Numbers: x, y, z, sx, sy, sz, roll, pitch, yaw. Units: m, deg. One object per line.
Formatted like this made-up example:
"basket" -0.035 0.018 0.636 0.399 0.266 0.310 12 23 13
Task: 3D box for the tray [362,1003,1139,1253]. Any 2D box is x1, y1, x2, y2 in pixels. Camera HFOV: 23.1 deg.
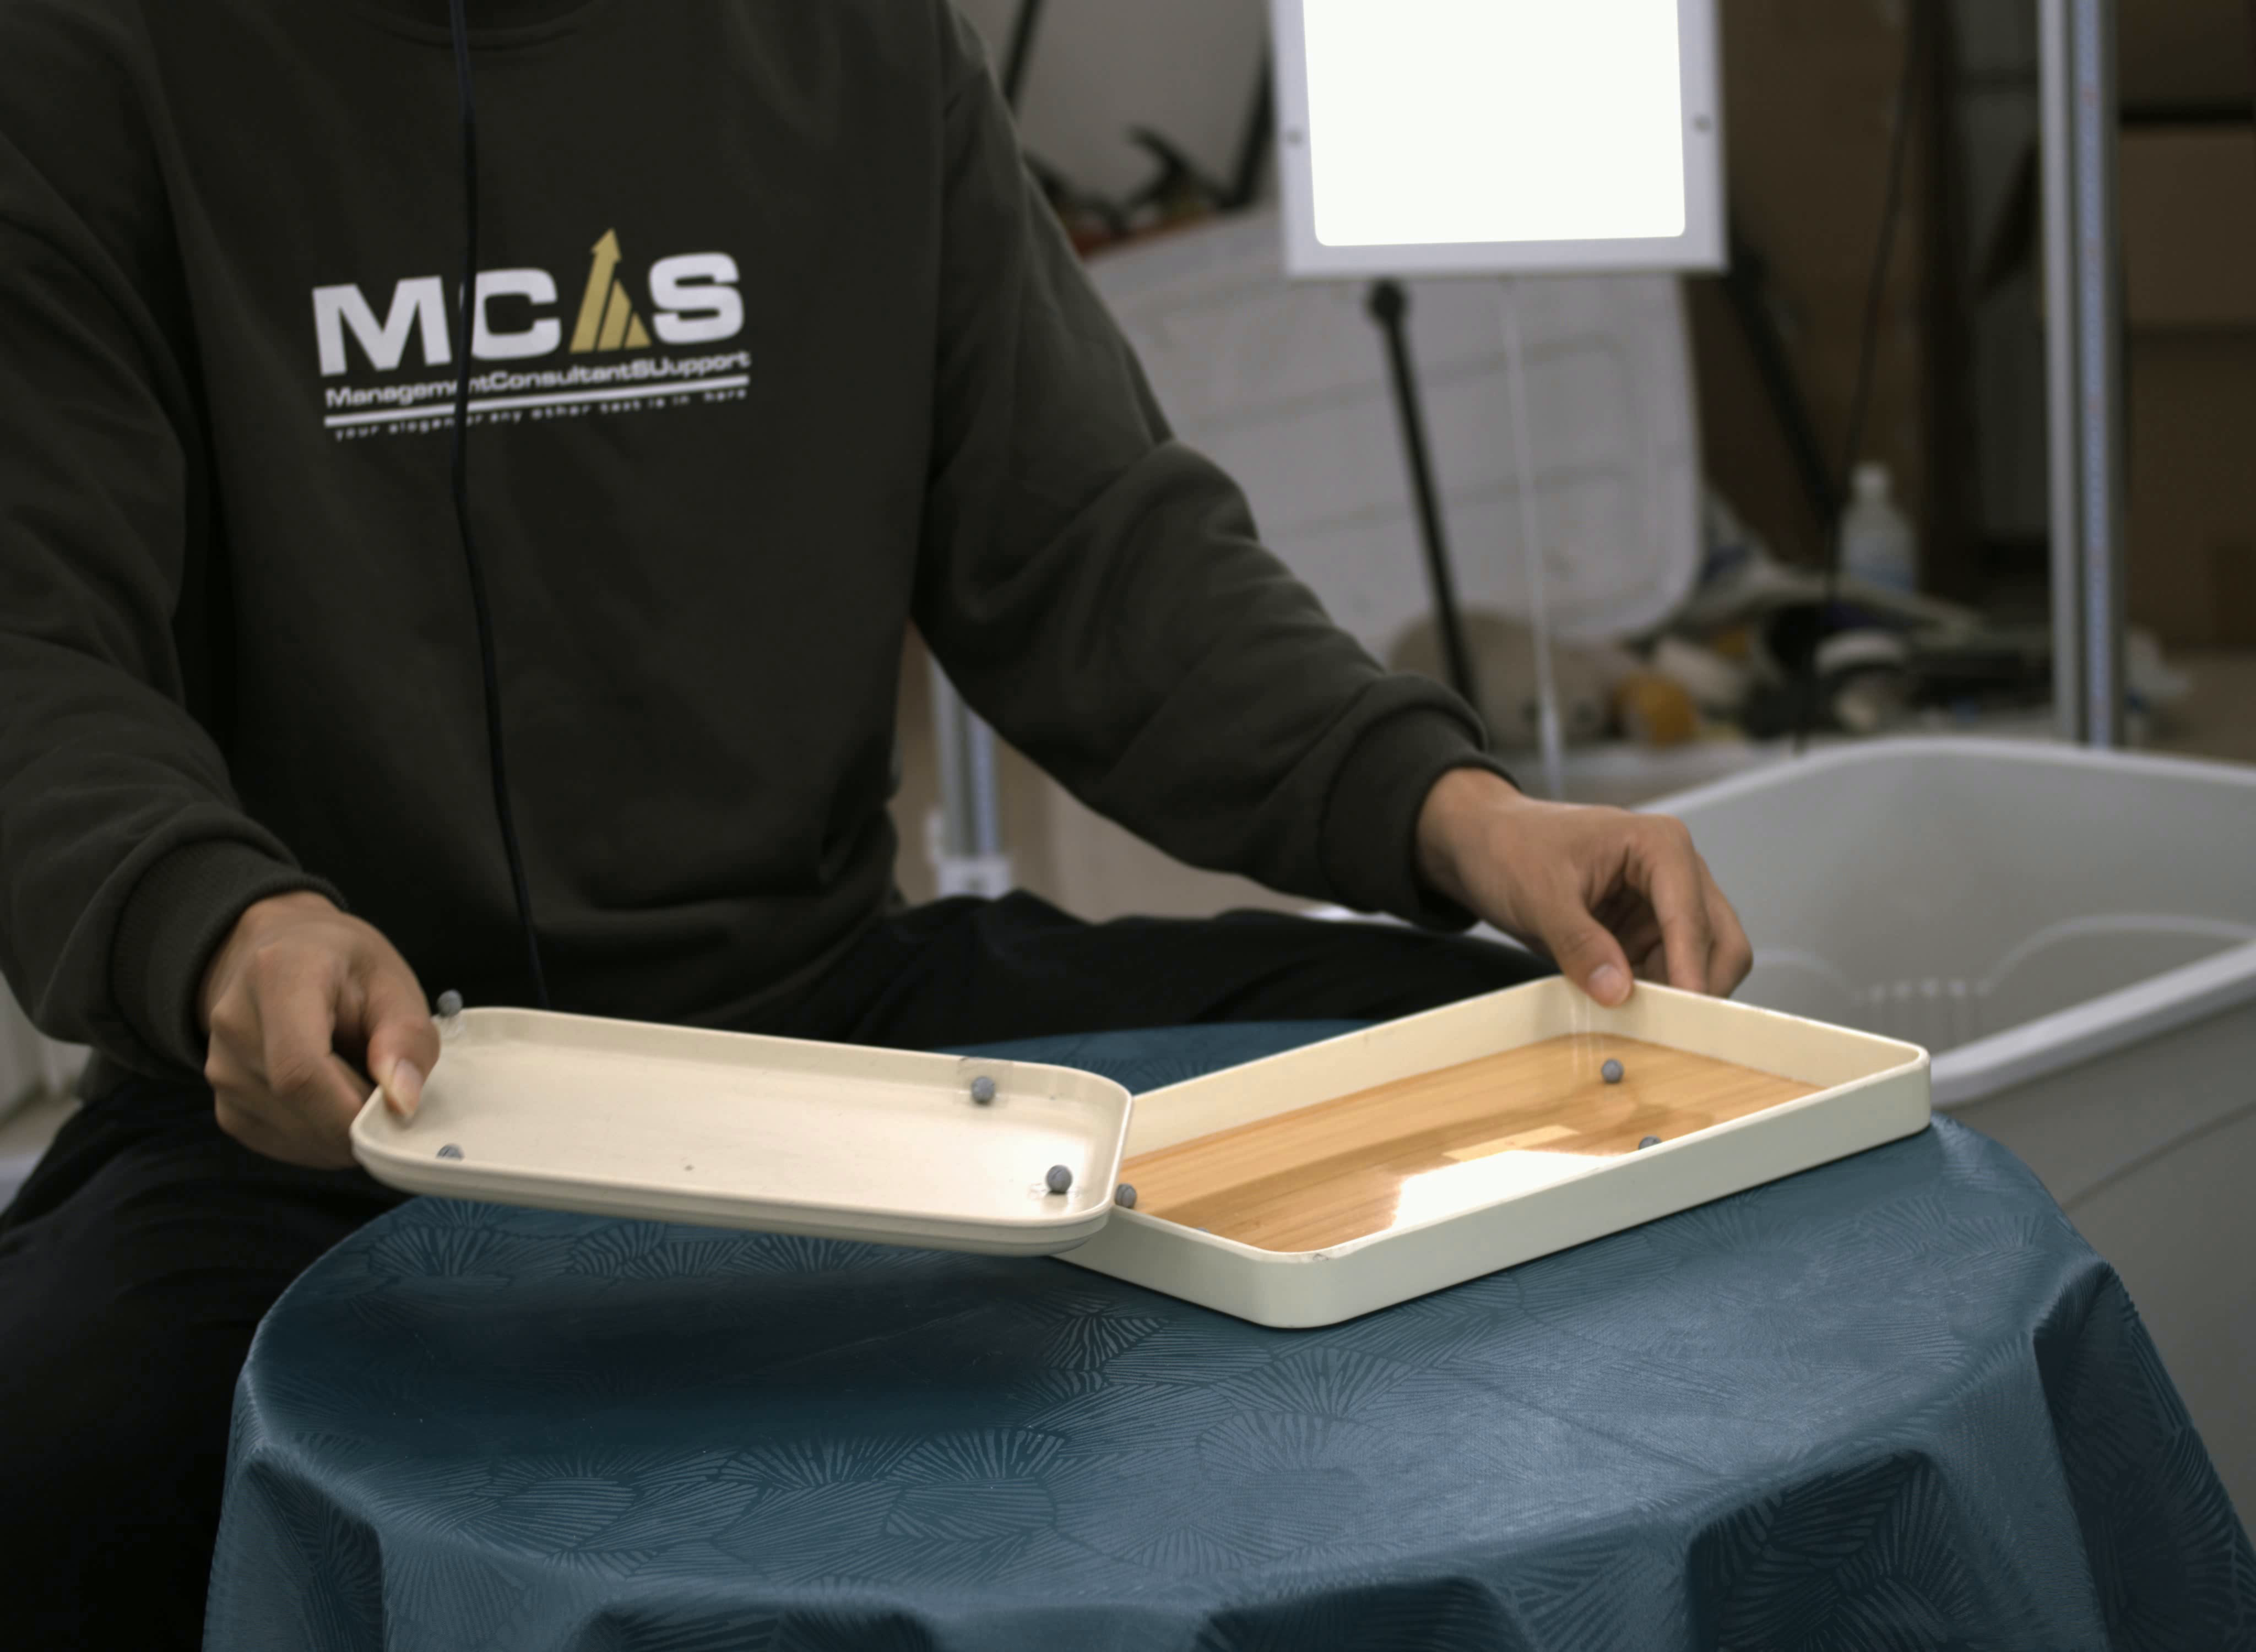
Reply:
"tray" -0.118 0.097 1.766 0.240 0.017 0.170 6 14 4

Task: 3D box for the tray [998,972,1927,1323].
"tray" 0.111 0.106 1.887 0.293 0.027 0.195 -14 16 -34
